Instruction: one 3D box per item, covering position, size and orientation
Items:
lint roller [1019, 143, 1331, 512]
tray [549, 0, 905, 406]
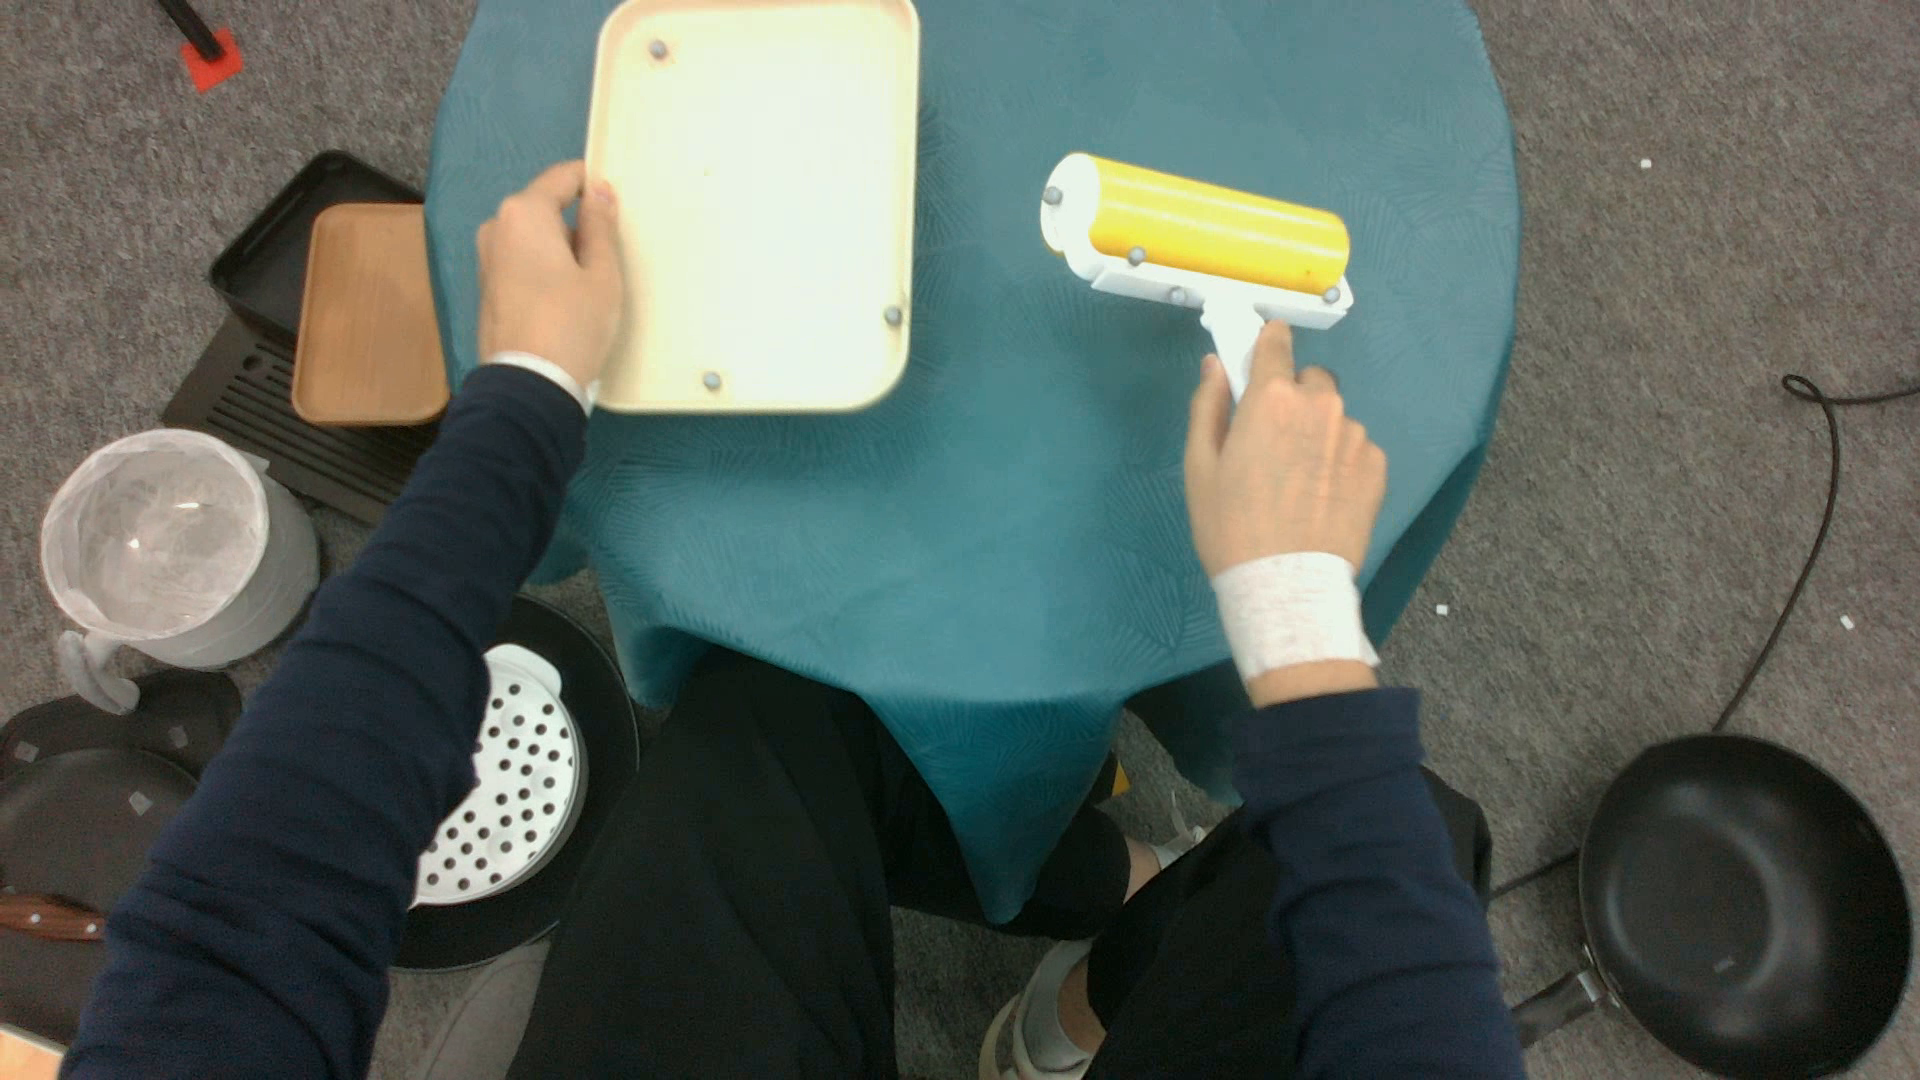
[{"bbox_3d":[0.131,-0.103,0.652,0.174,0.051,0.192,1,51,-32],"label":"lint roller"},{"bbox_3d":[-0.114,-0.177,0.697,0.171,0.017,0.240,0,71,5],"label":"tray"}]
